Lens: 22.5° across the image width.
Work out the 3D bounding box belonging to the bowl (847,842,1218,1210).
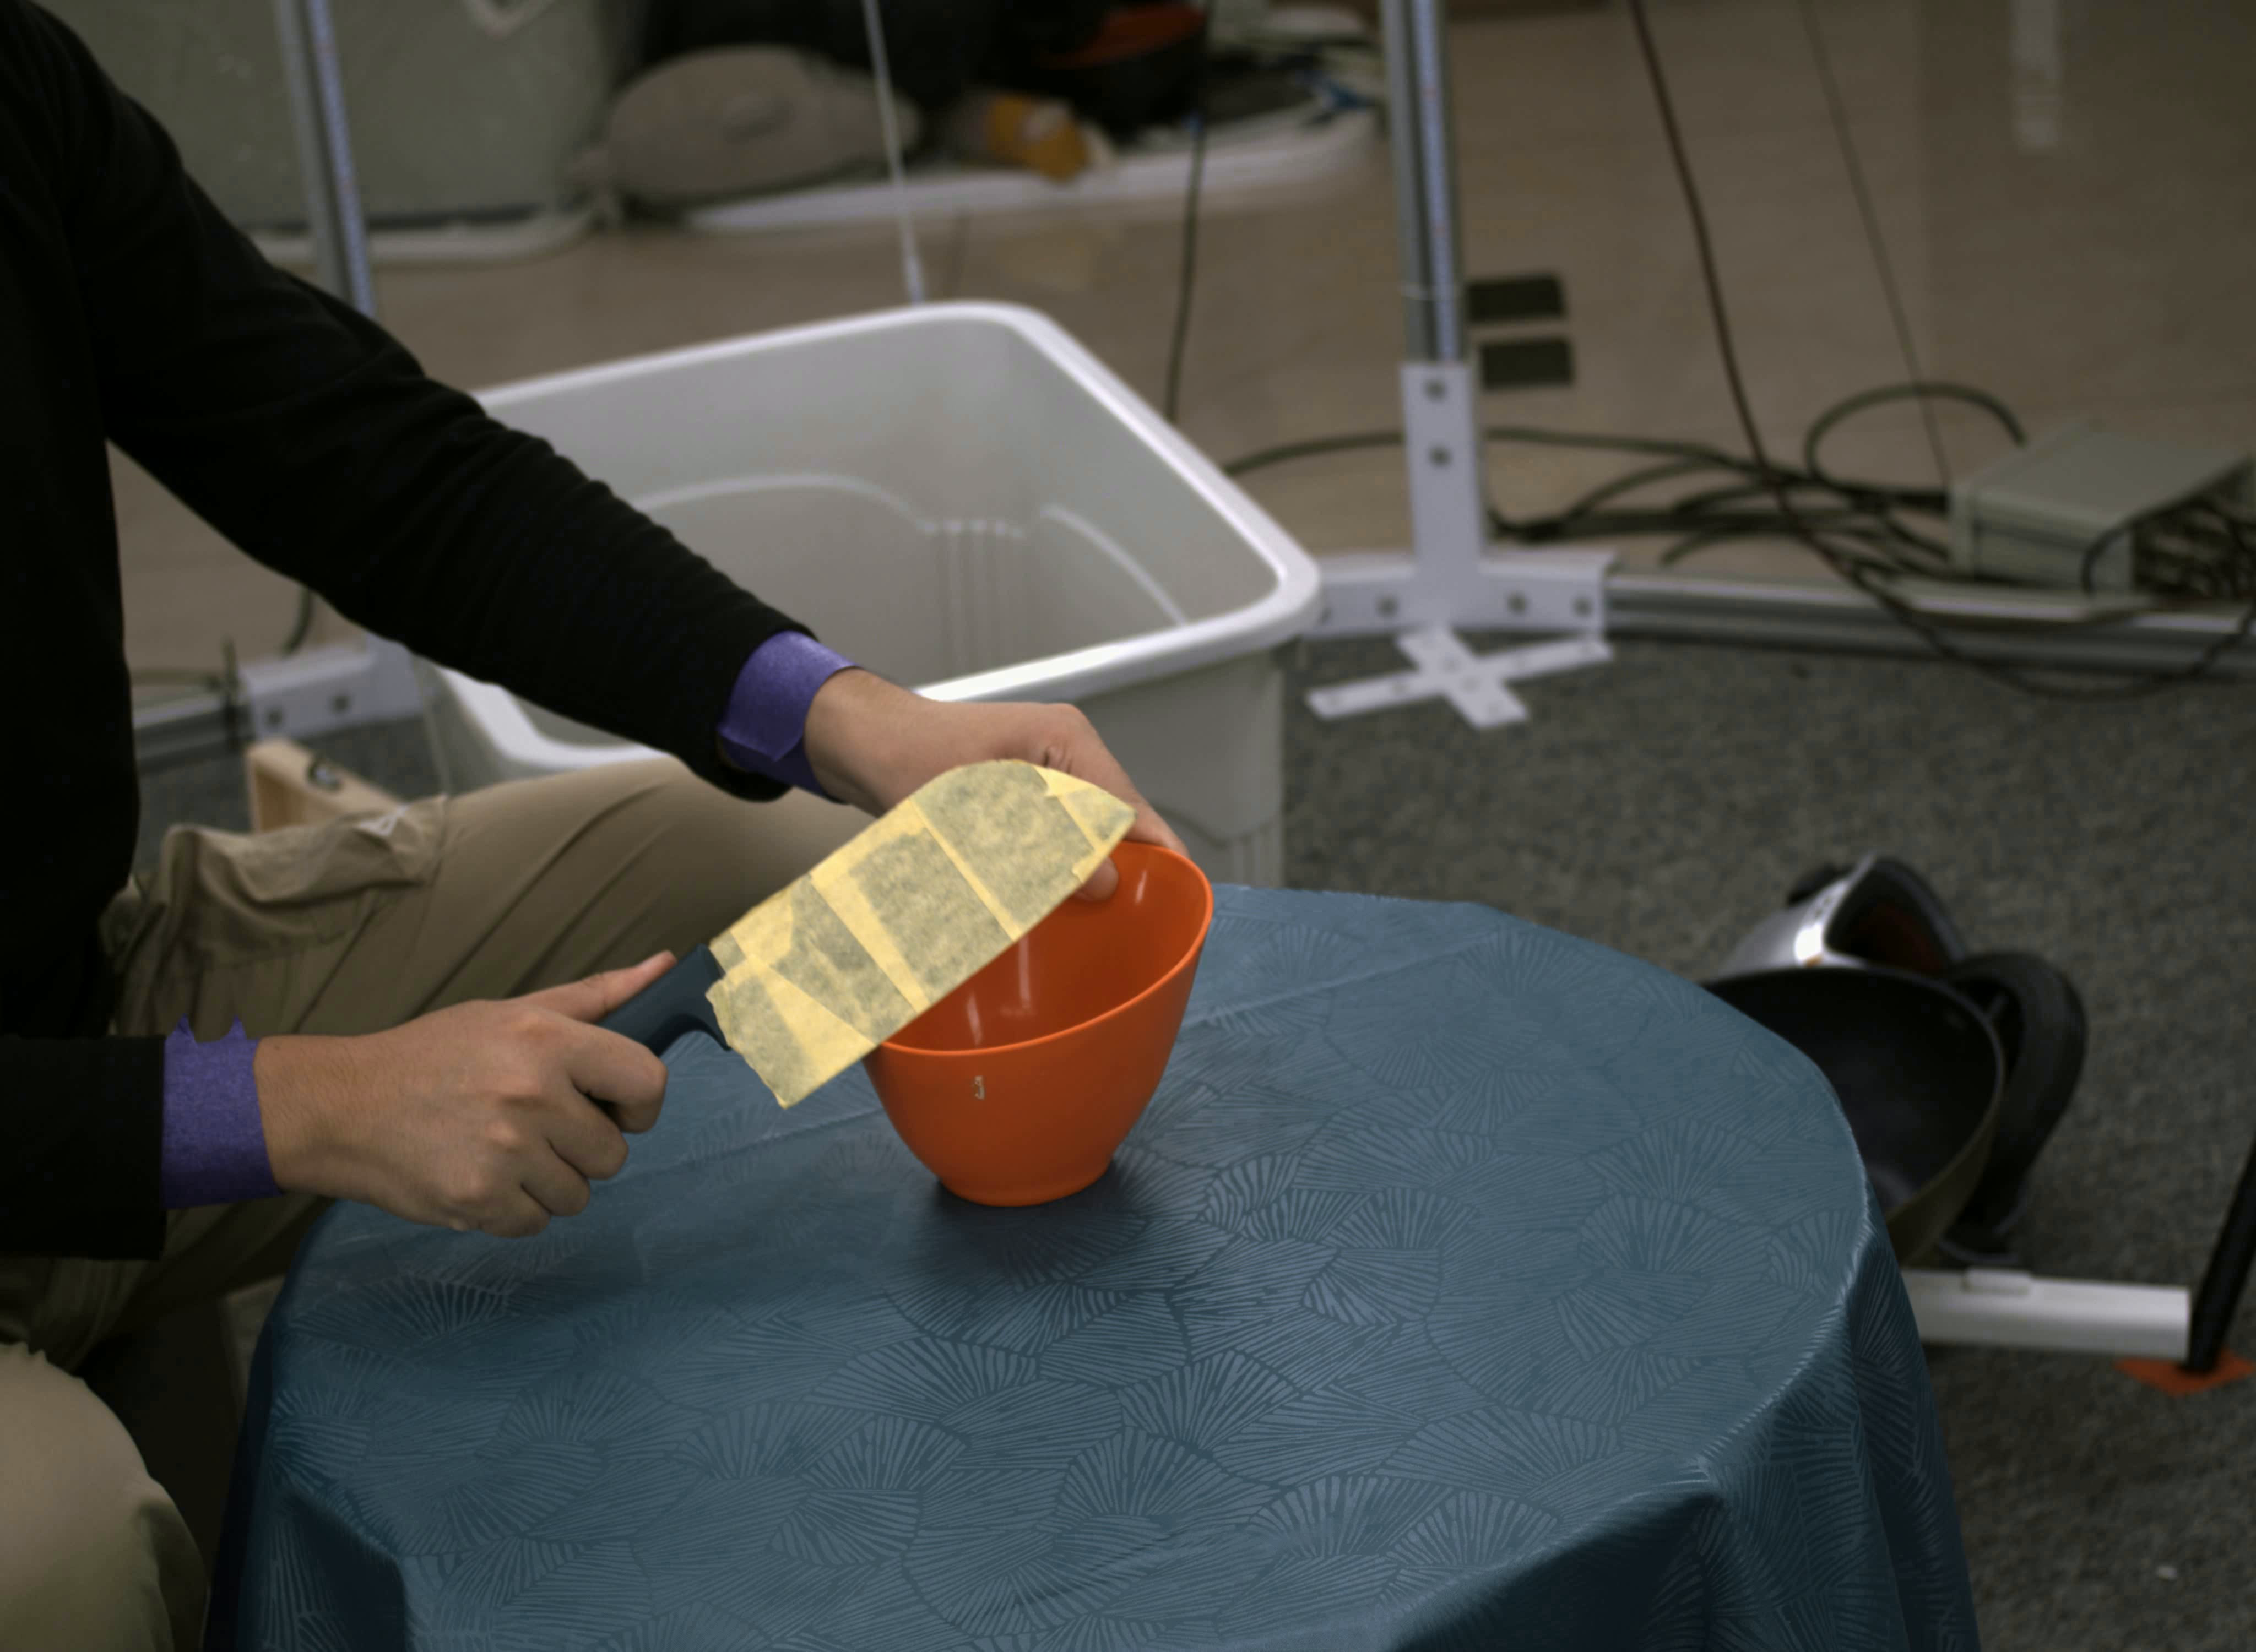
[{"bbox_3d":[-0.034,0.082,2.158,0.148,0.106,0.146,-5,27,3],"label":"bowl"}]

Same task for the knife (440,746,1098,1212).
[{"bbox_3d":[-0.131,0.062,2.121,0.289,0.027,0.080,-35,68,-2],"label":"knife"}]
